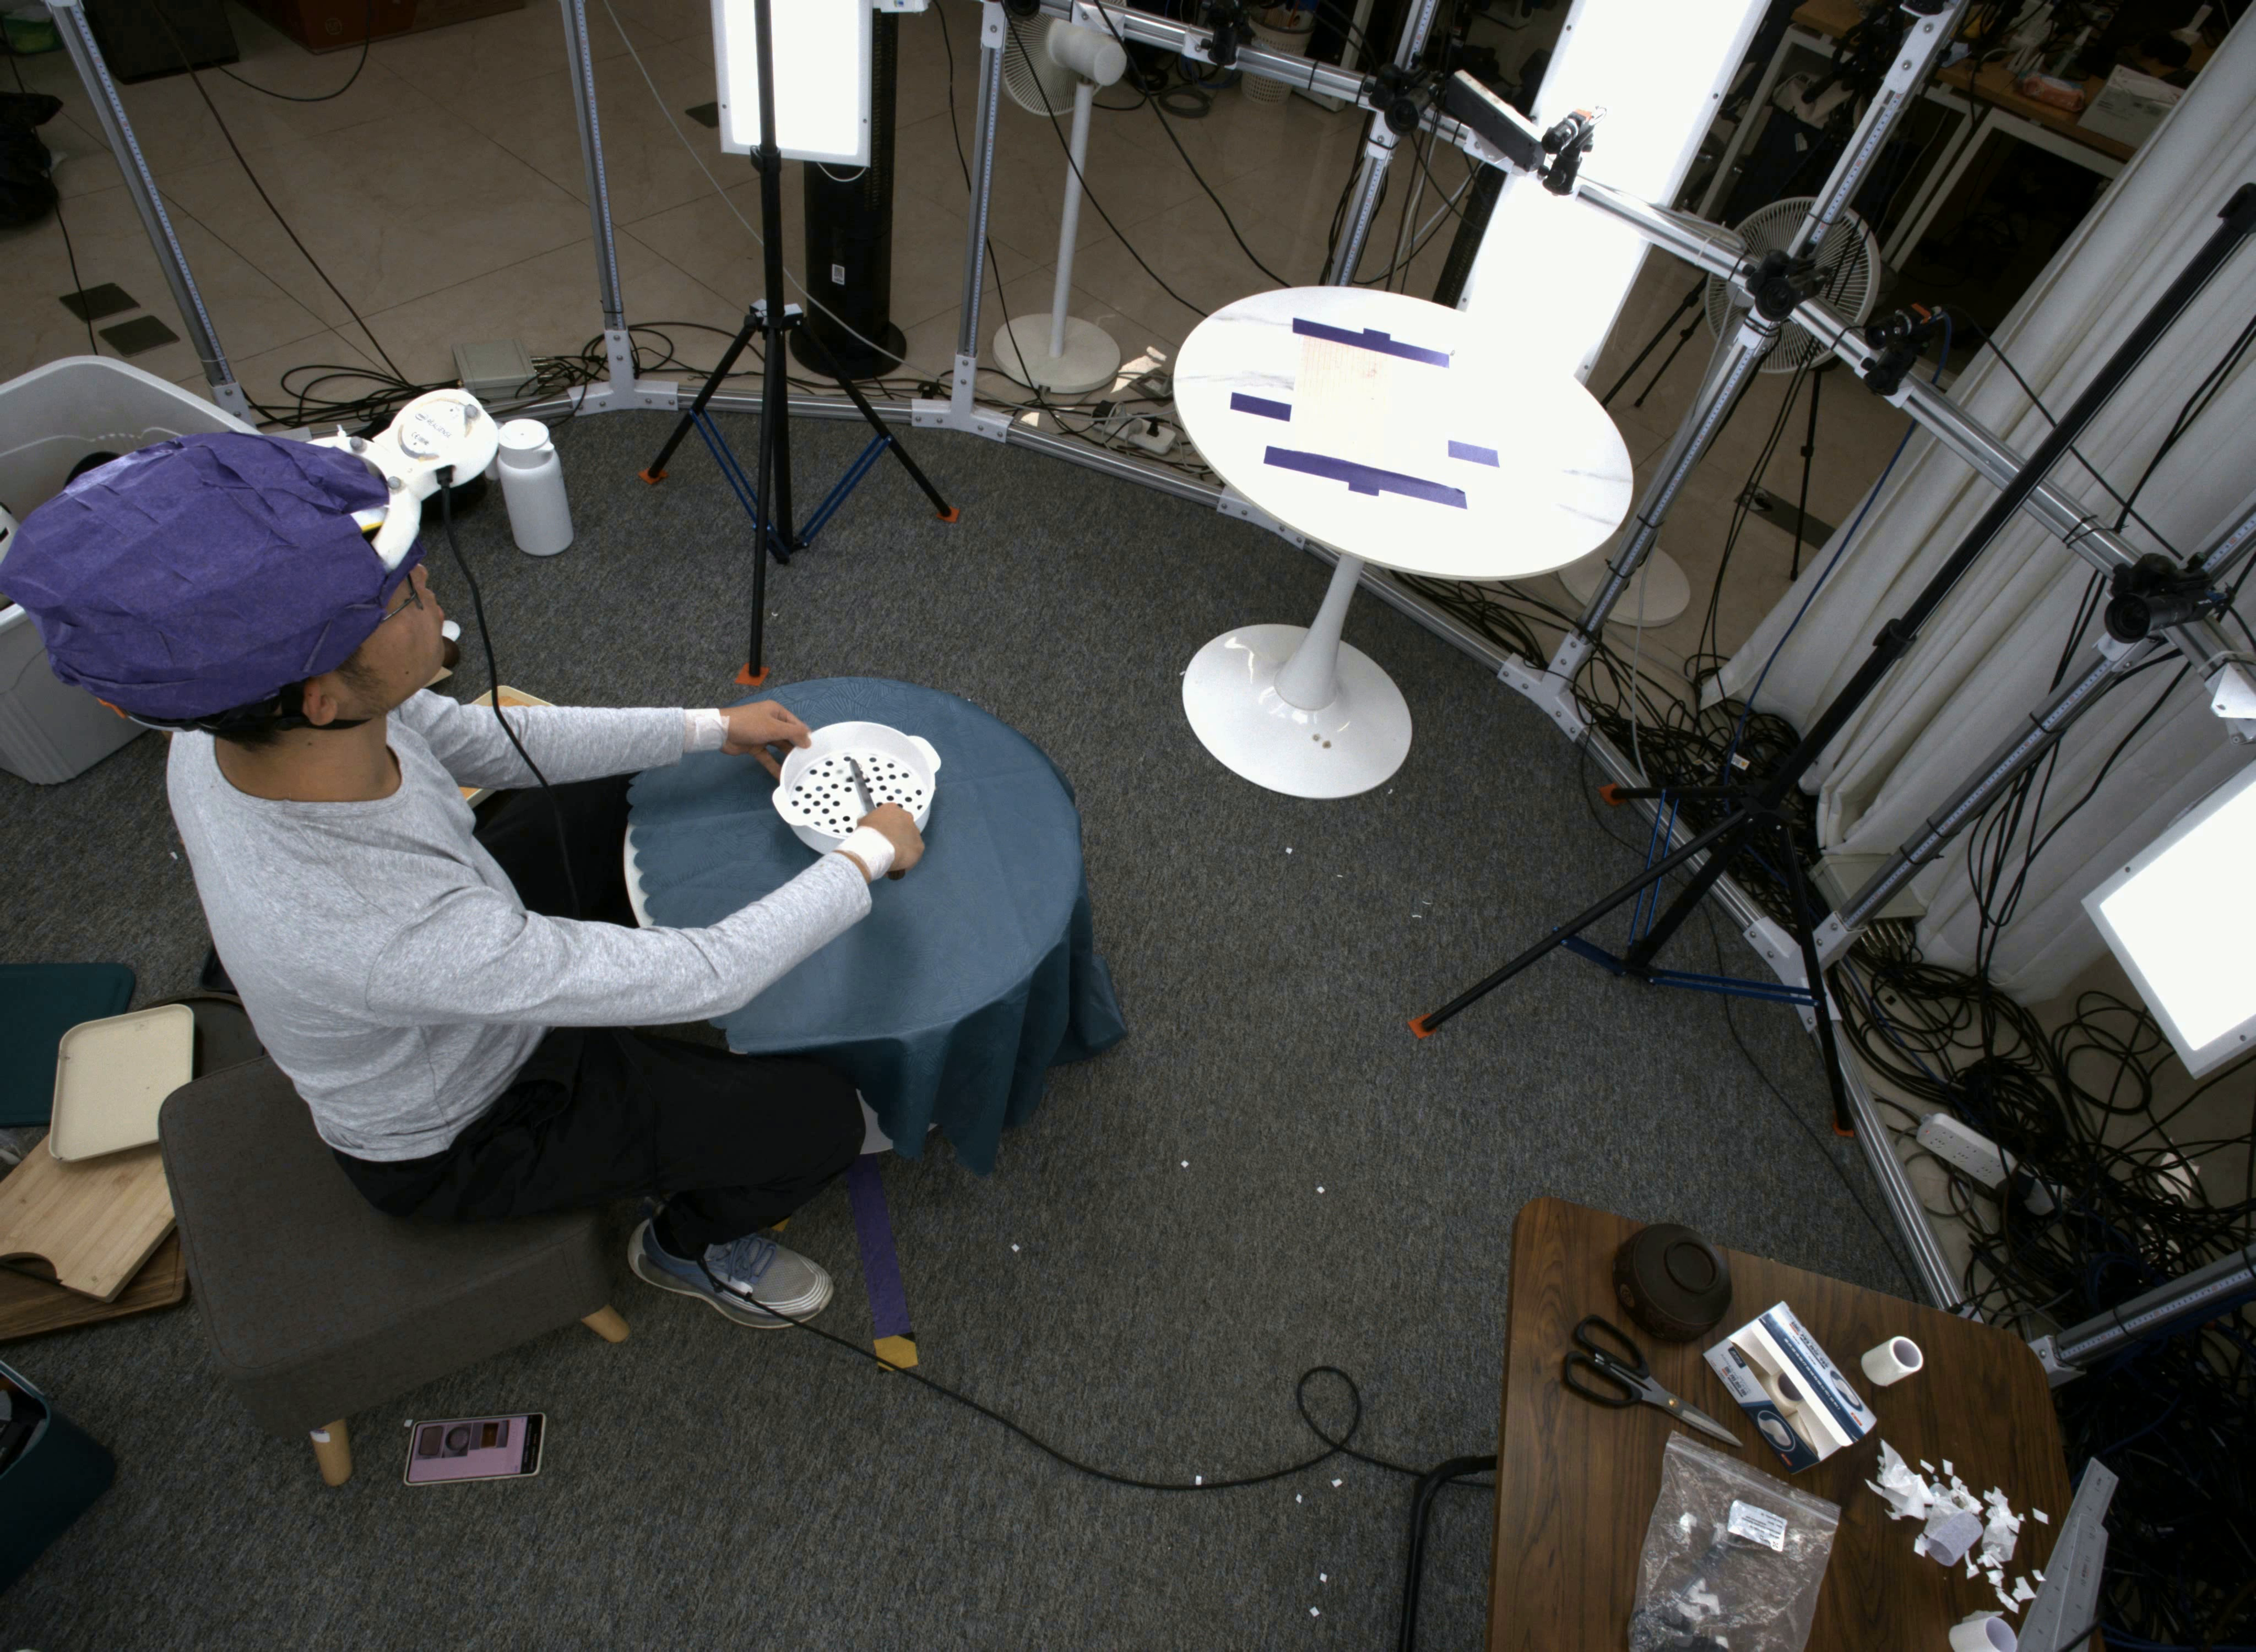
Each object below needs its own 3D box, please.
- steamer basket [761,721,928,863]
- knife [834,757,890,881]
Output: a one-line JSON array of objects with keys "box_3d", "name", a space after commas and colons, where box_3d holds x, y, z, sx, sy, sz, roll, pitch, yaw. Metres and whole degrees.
[{"box_3d": [-0.376, -0.045, 1.738, 0.231, 0.071, 0.197, -27, 63, -28], "name": "steamer basket"}, {"box_3d": [-0.345, -0.015, 1.652, 0.020, 0.051, 0.279, -5, 33, -24], "name": "knife"}]
